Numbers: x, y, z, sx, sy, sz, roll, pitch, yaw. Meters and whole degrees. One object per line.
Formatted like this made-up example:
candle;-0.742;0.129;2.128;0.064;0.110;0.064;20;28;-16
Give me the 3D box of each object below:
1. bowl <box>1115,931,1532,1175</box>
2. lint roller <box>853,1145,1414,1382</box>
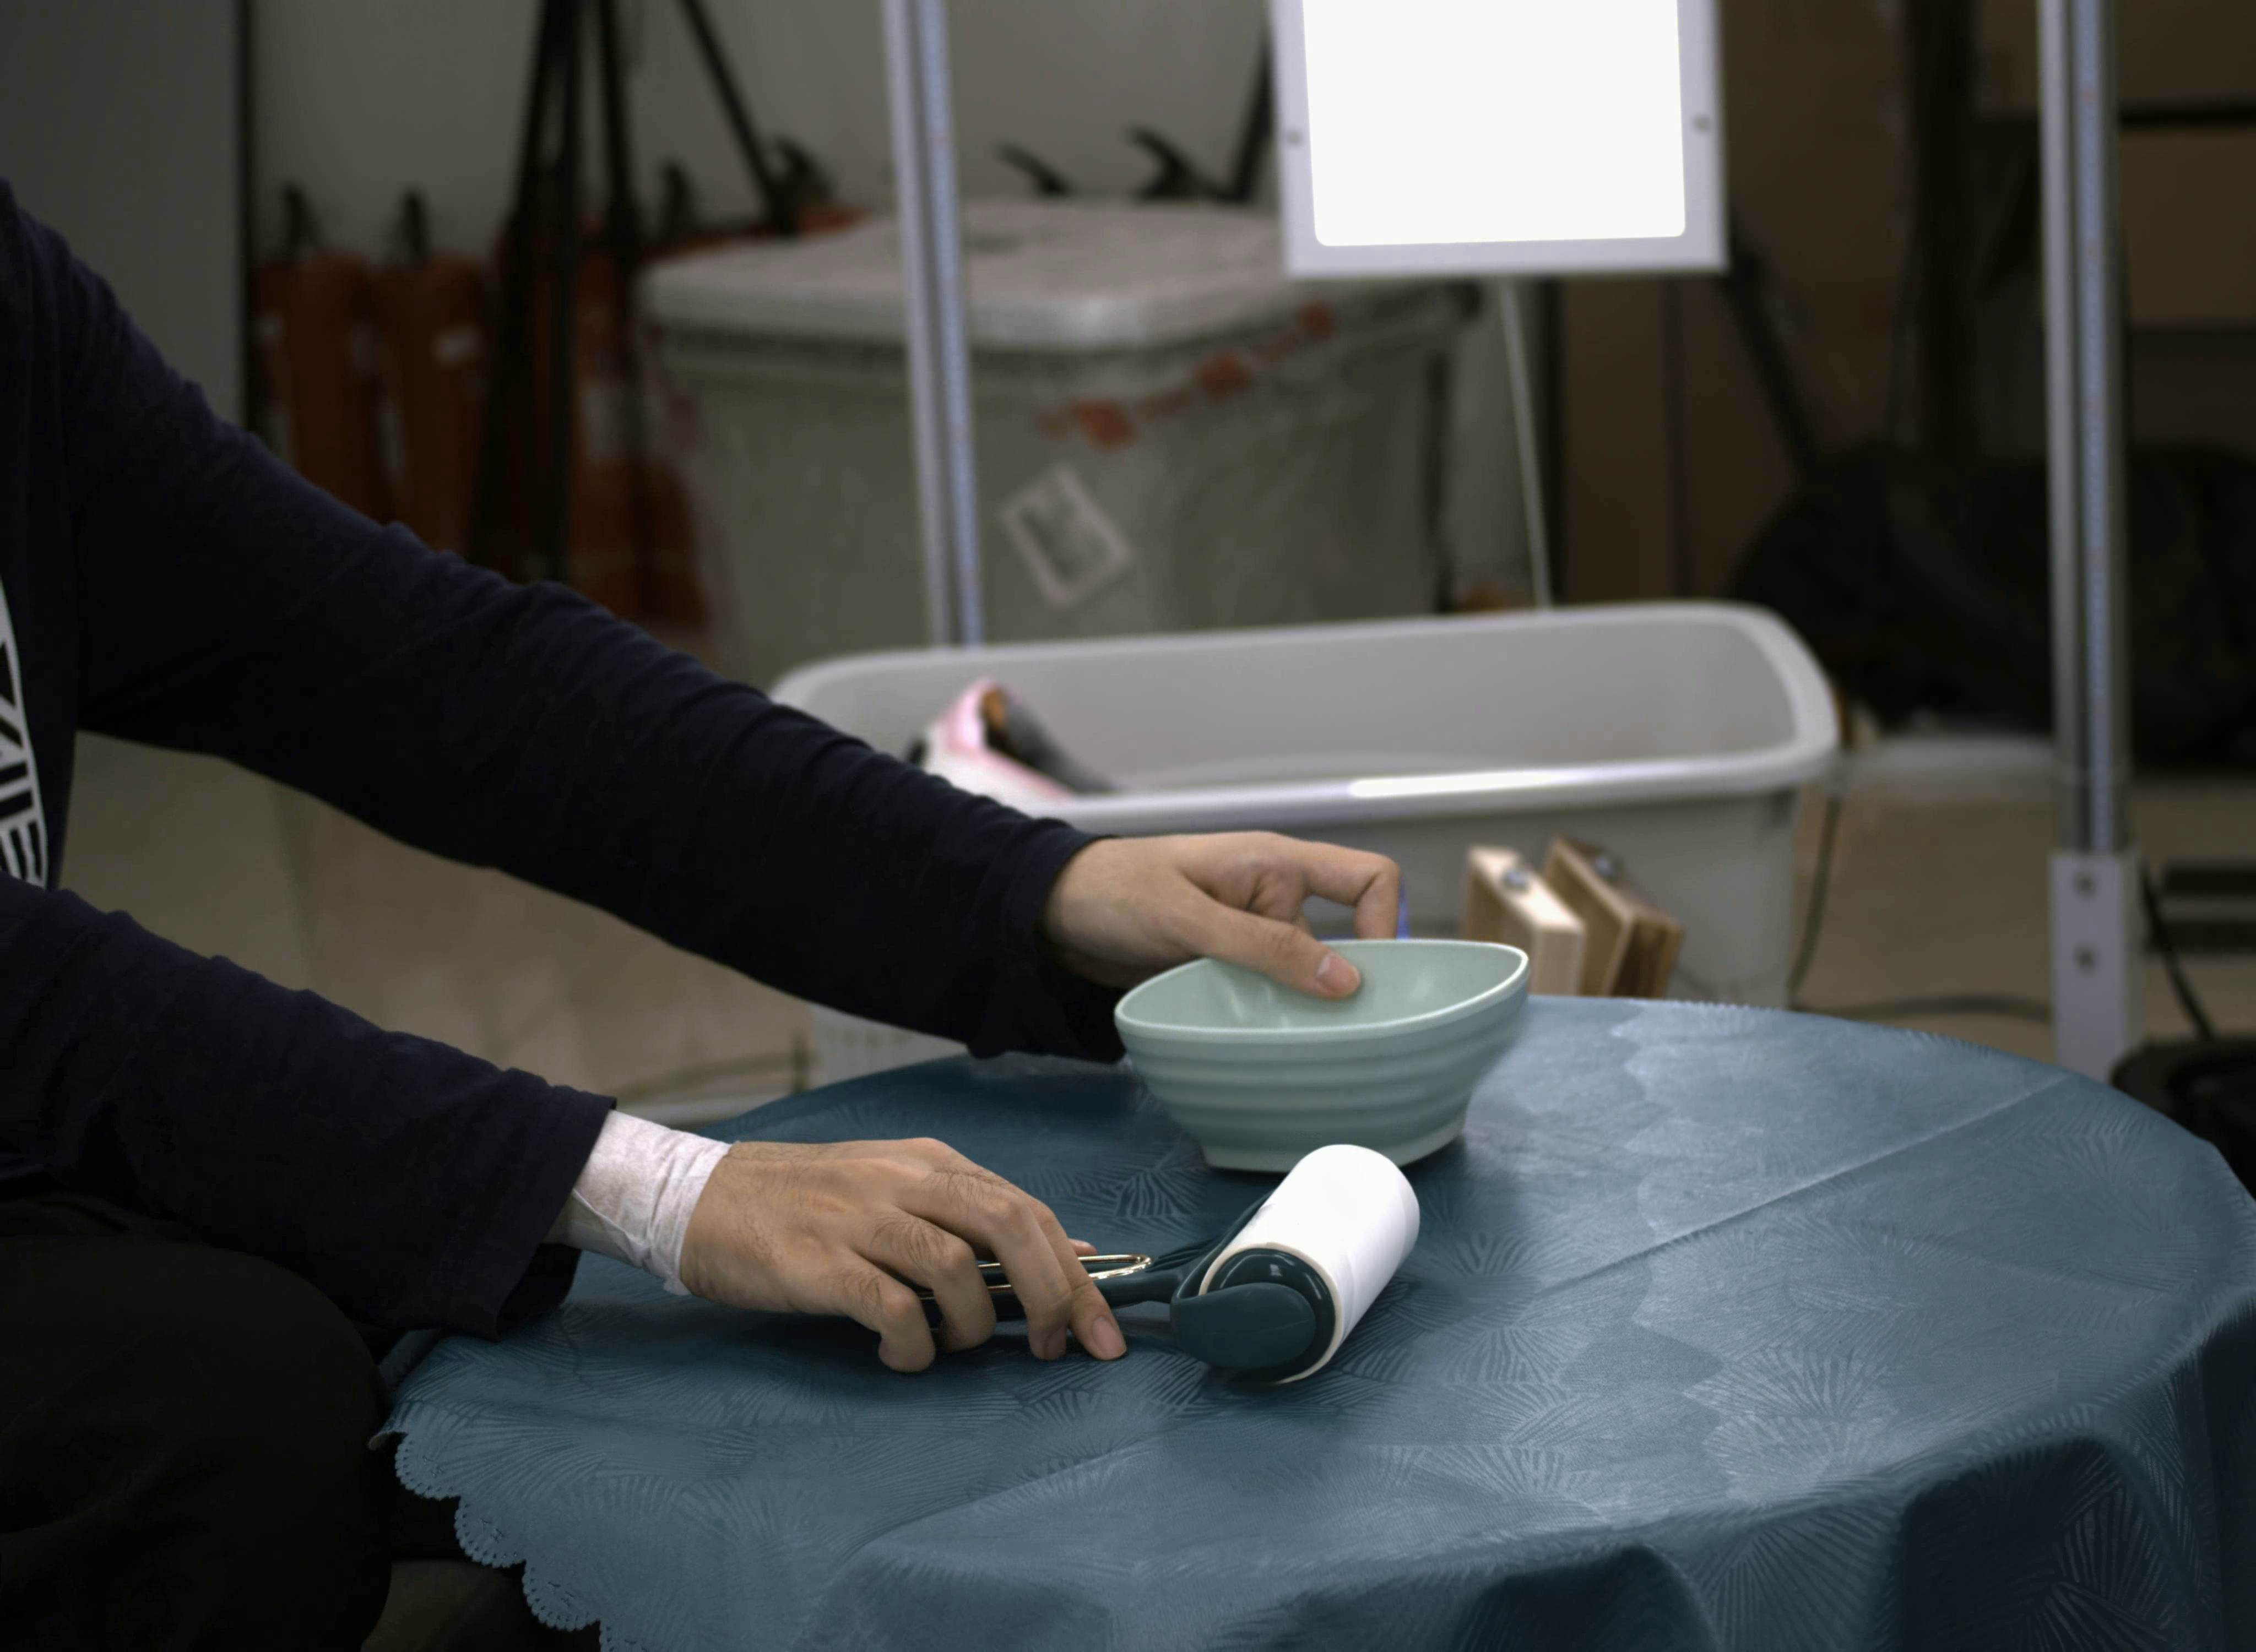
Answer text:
bowl;0.070;0.082;1.923;0.151;0.059;0.151;-4;13;0
lint roller;-0.006;0.142;1.760;0.182;0.048;0.132;-4;13;19
